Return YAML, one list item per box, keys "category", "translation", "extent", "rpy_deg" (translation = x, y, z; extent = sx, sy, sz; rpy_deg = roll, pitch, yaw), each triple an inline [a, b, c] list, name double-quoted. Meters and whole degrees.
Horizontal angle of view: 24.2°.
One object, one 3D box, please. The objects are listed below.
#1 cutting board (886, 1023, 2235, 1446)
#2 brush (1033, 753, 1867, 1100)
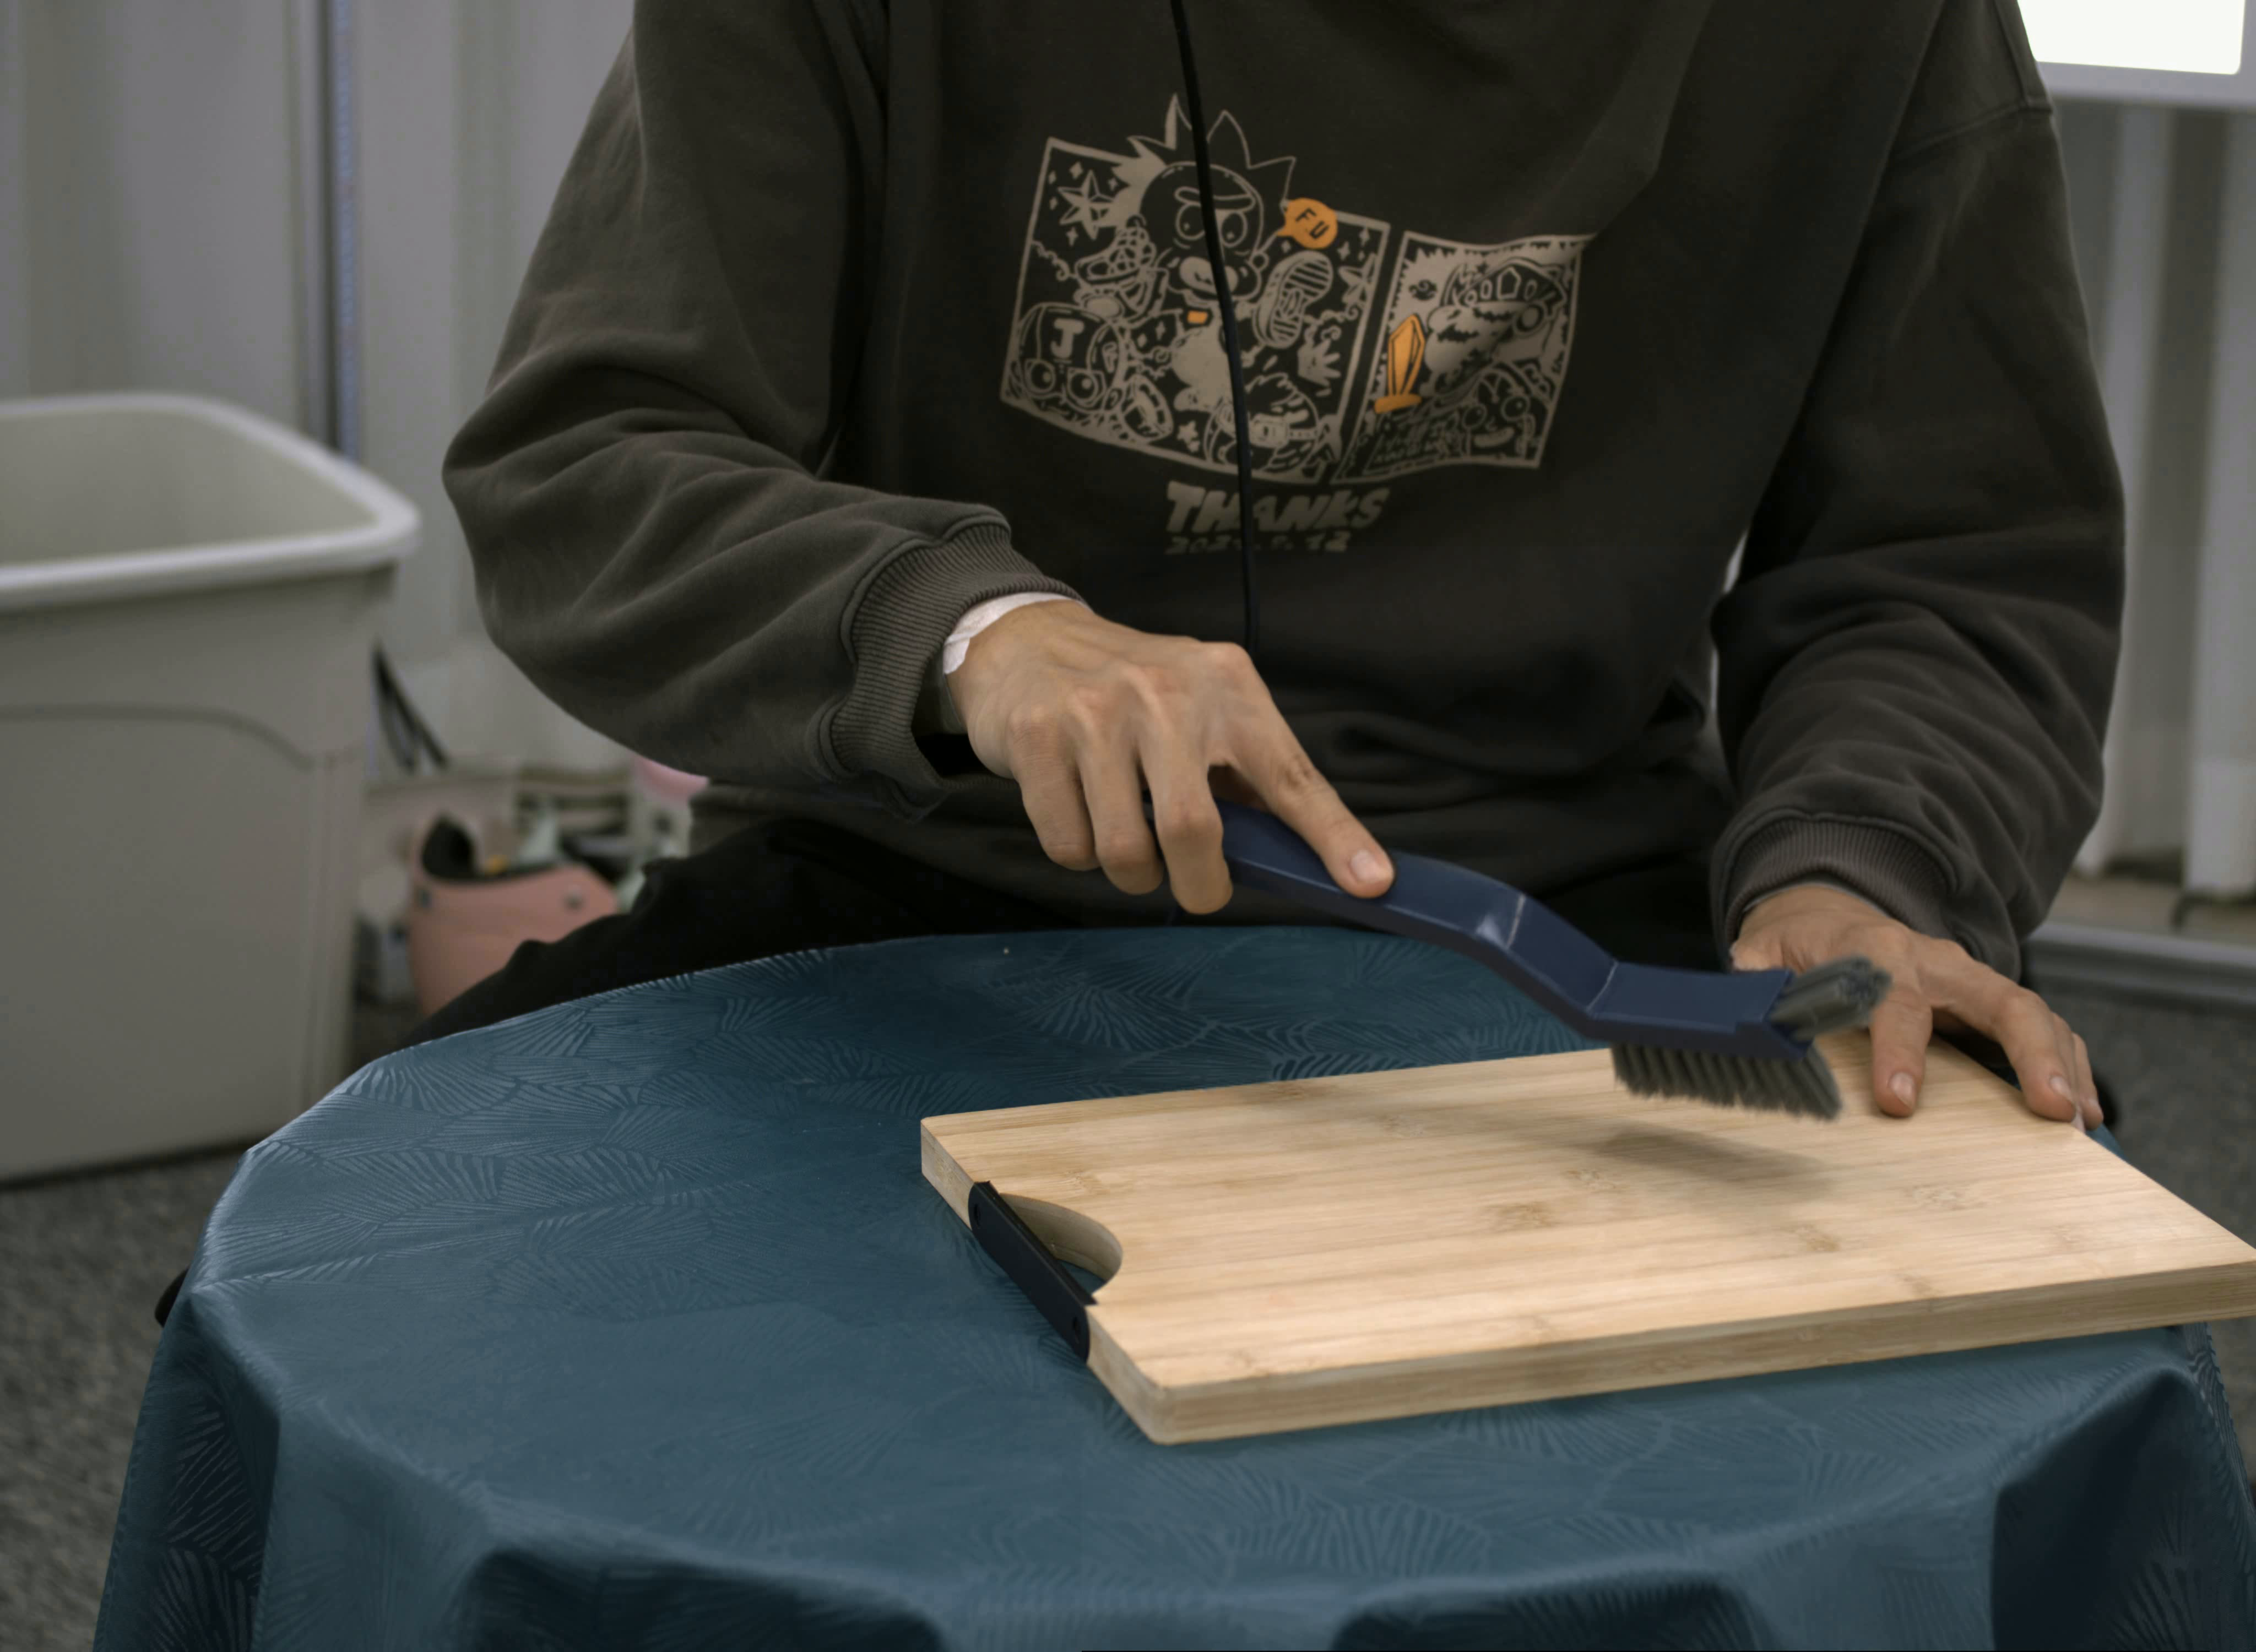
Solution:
- category: "cutting board"
  translation: [0.125, 0.118, 1.586]
  extent: [0.349, 0.024, 0.248]
  rpy_deg: [-5, 16, -19]
- category: "brush"
  translation: [0.095, 0.019, 1.615]
  extent: [0.271, 0.097, 0.033]
  rpy_deg: [22, 56, 16]
